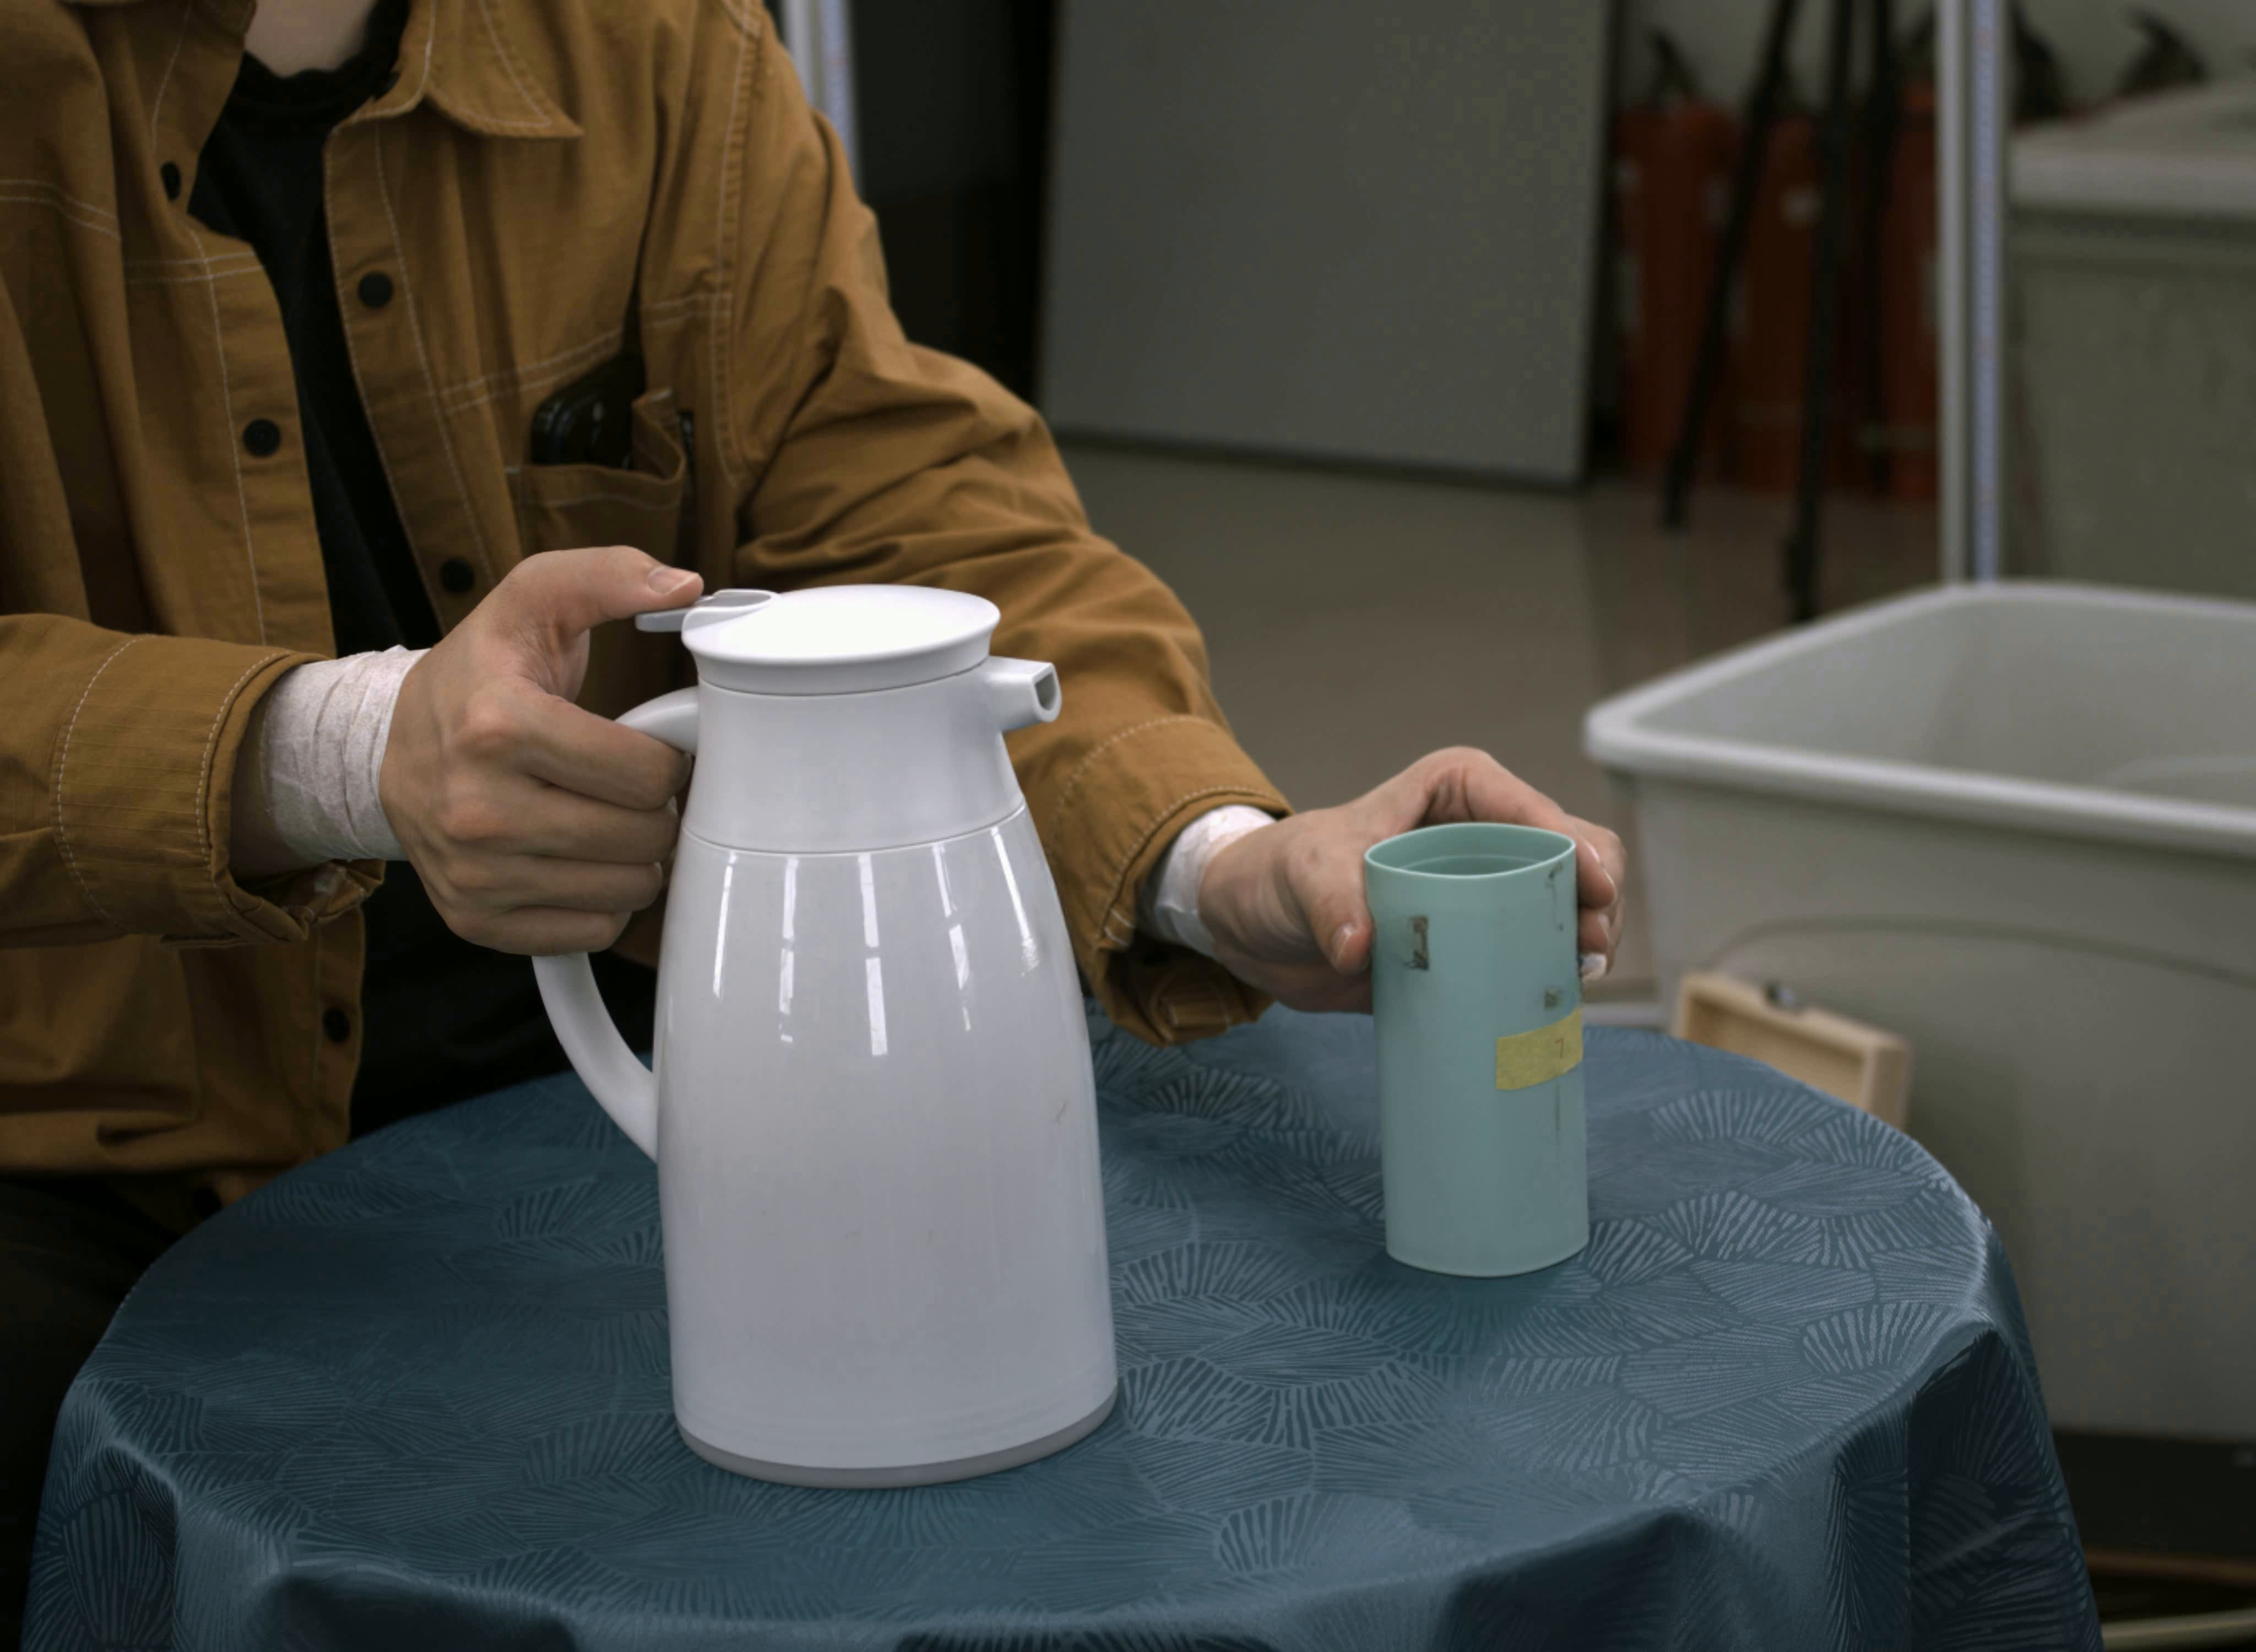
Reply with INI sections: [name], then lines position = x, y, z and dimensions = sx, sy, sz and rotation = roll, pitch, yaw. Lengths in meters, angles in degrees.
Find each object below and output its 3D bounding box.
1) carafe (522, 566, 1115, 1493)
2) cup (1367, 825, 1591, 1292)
[carafe]
position = -0.094, 0.052, 1.564
dimensions = 0.167, 0.251, 0.131
rotation = 0, 14, 19
[cup]
position = 0.109, 0.071, 1.681
dimensions = 0.066, 0.134, 0.067
rotation = -4, 13, 0
